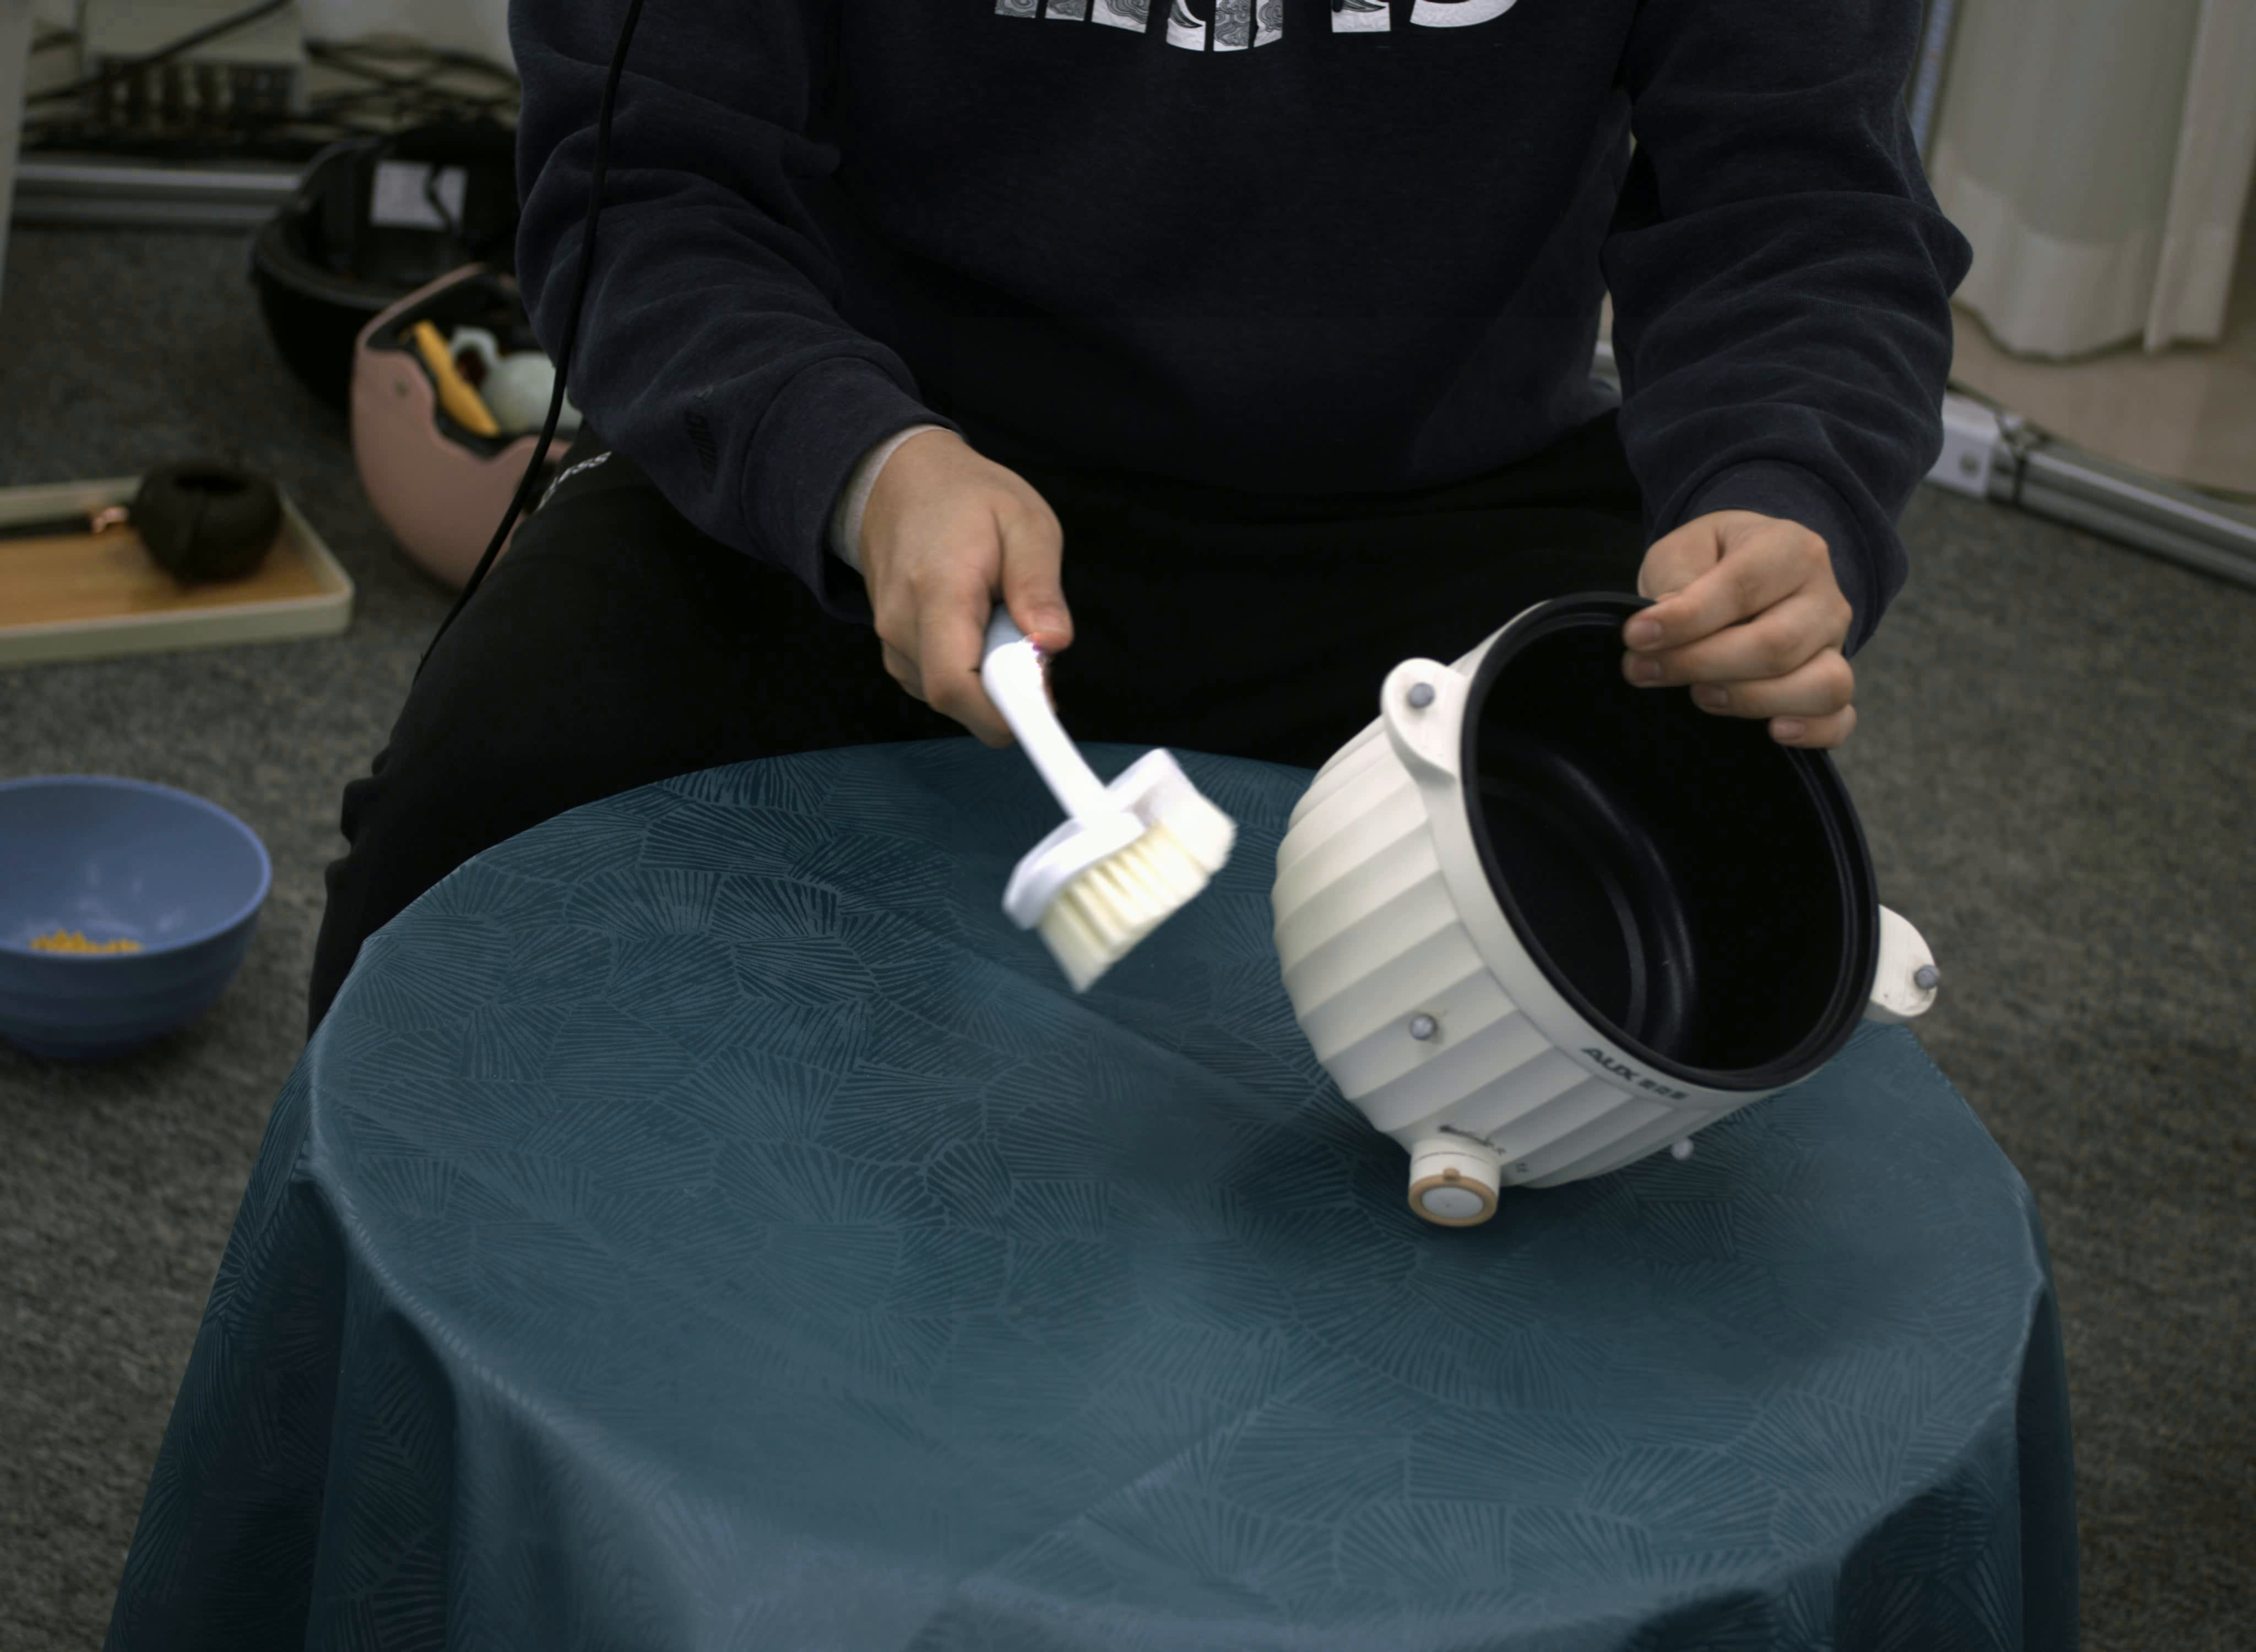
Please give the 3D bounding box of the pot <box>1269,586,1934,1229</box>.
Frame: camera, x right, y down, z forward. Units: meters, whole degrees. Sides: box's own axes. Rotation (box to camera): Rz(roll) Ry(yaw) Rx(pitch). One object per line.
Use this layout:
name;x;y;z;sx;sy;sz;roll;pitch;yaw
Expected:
pot;0.144;0.034;1.817;0.238;0.142;0.192;26;49;-23

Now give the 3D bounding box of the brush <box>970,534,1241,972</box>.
brush;-0.006;-0.025;1.883;0.083;0.084;0.327;-7;20;-2
